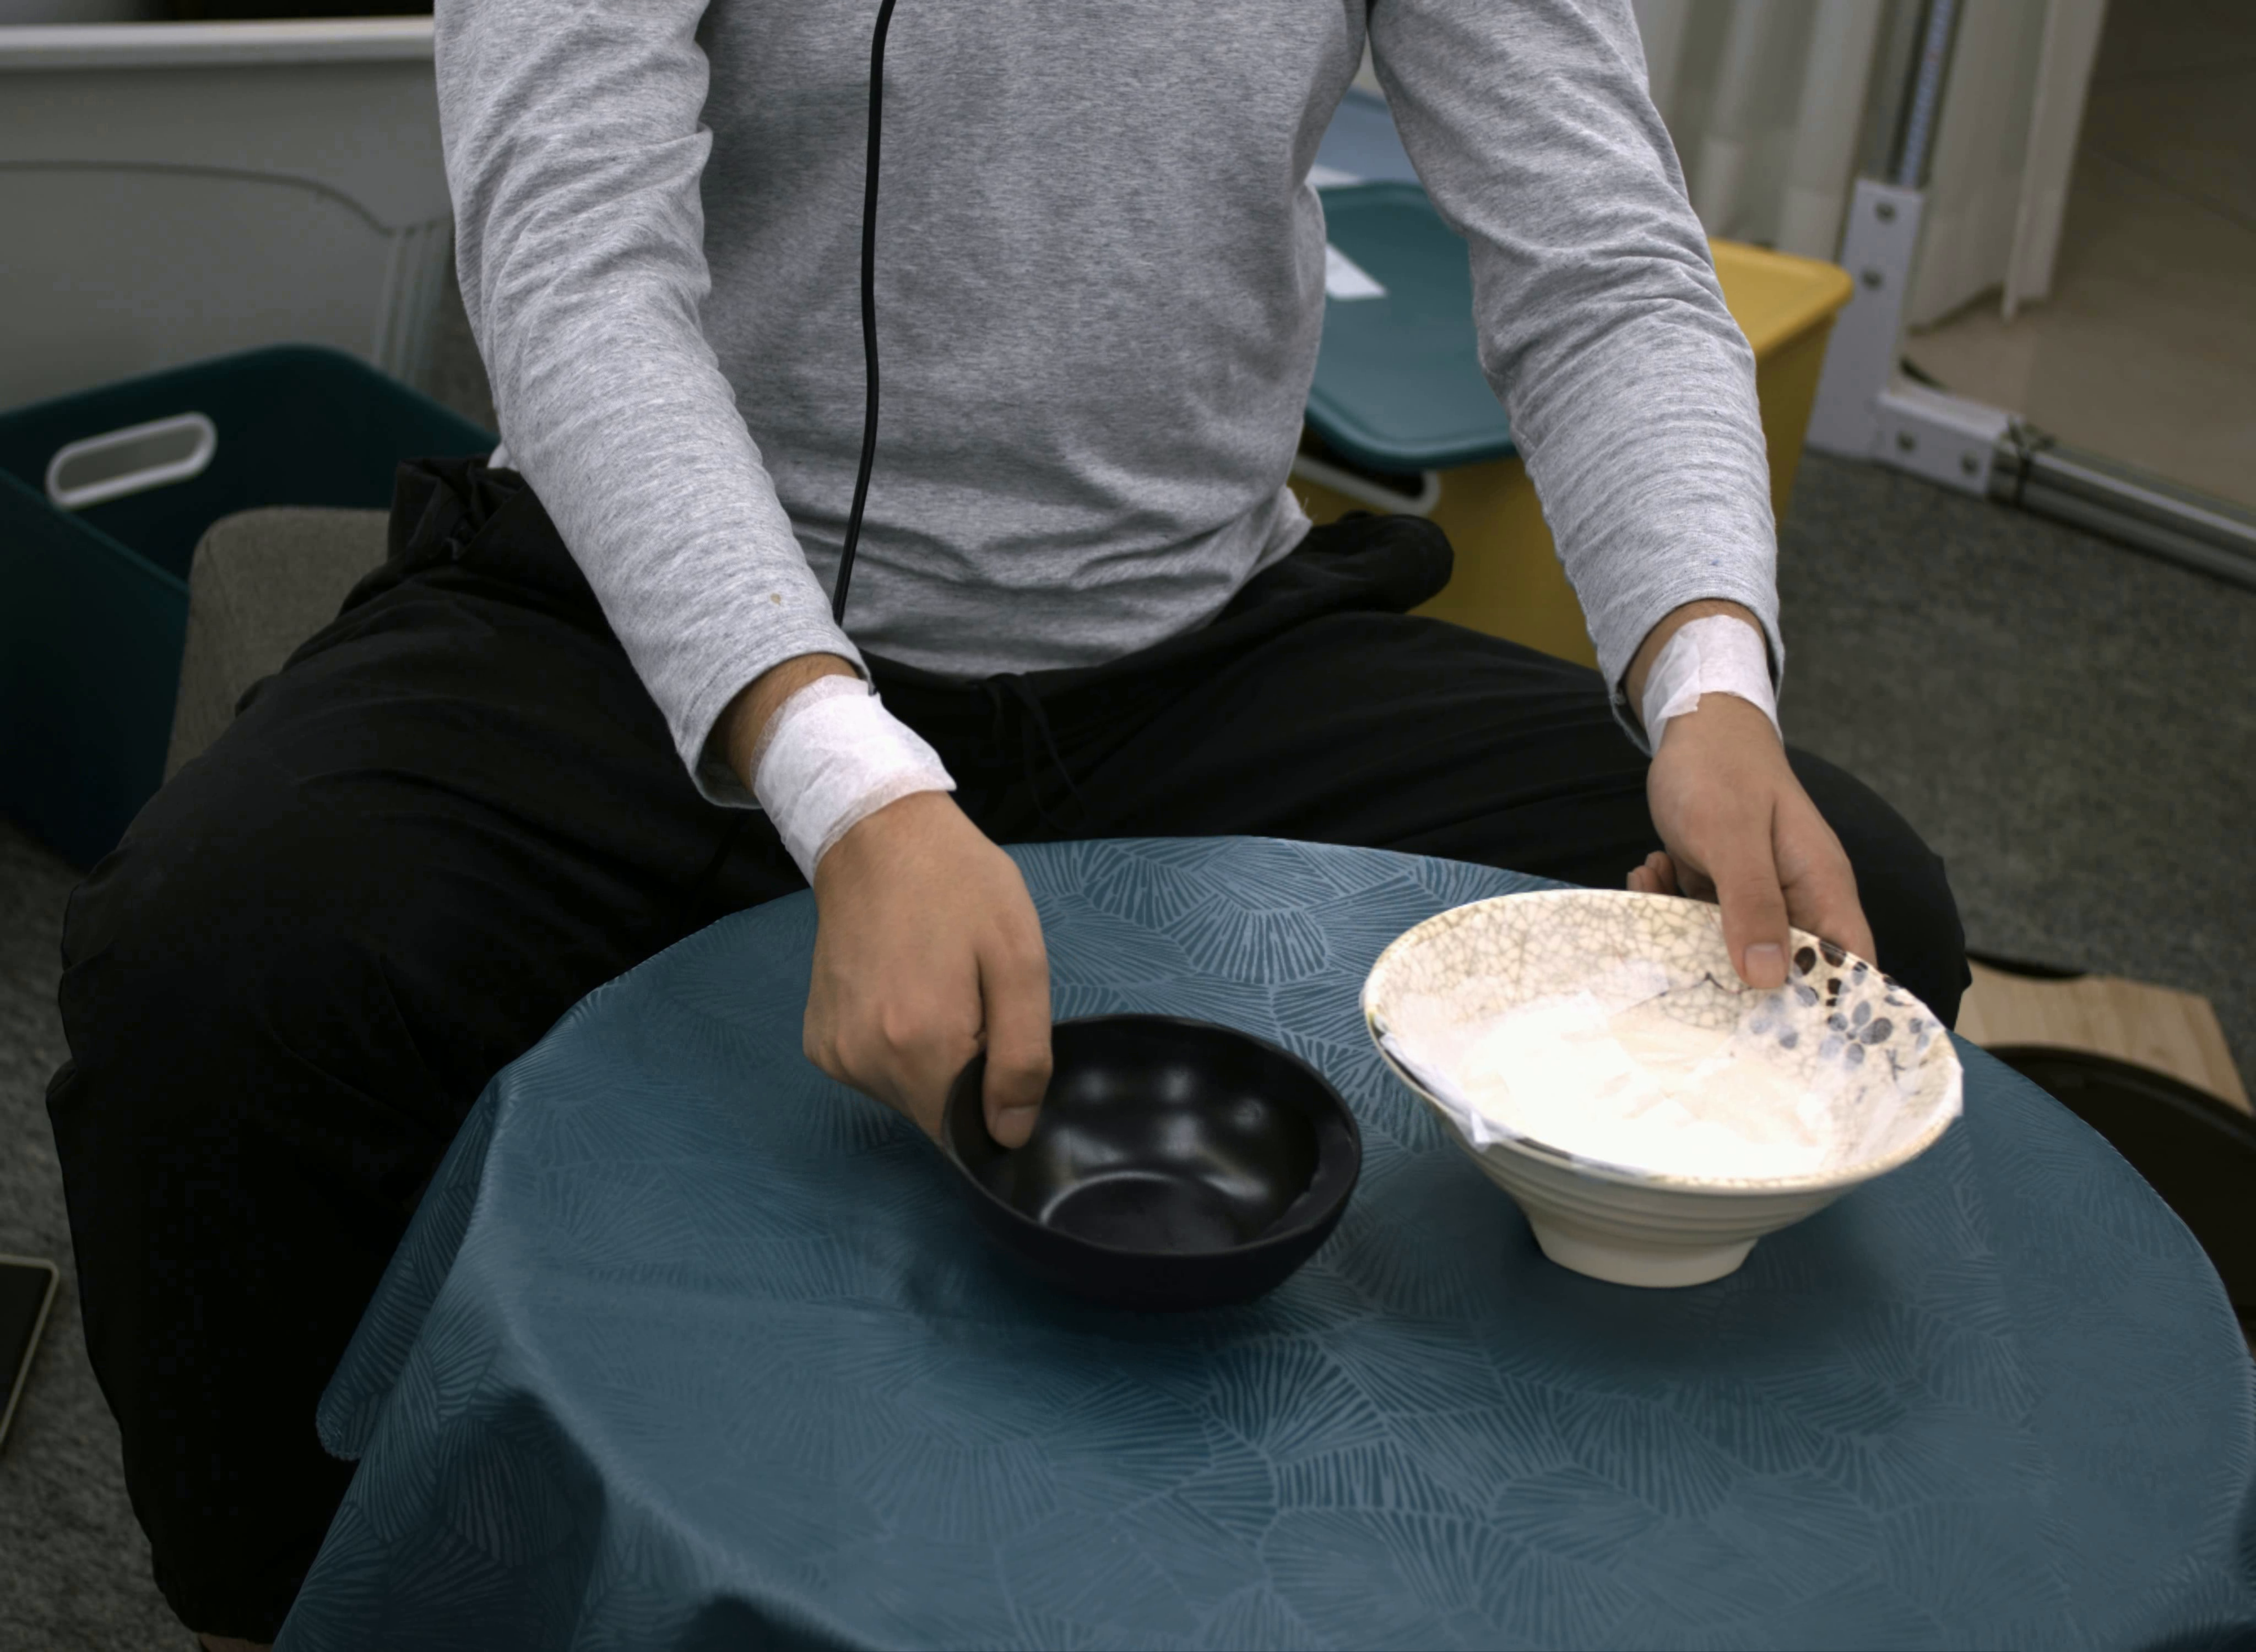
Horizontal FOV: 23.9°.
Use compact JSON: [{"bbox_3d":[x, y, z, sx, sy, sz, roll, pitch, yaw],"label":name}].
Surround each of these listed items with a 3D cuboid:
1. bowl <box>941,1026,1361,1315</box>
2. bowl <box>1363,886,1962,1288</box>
[{"bbox_3d":[0.006,0.122,1.752,0.139,0.049,0.141,4,28,-3],"label":"bowl"},{"bbox_3d":[0.175,0.101,1.803,0.203,0.078,0.205,6,26,-3],"label":"bowl"}]
